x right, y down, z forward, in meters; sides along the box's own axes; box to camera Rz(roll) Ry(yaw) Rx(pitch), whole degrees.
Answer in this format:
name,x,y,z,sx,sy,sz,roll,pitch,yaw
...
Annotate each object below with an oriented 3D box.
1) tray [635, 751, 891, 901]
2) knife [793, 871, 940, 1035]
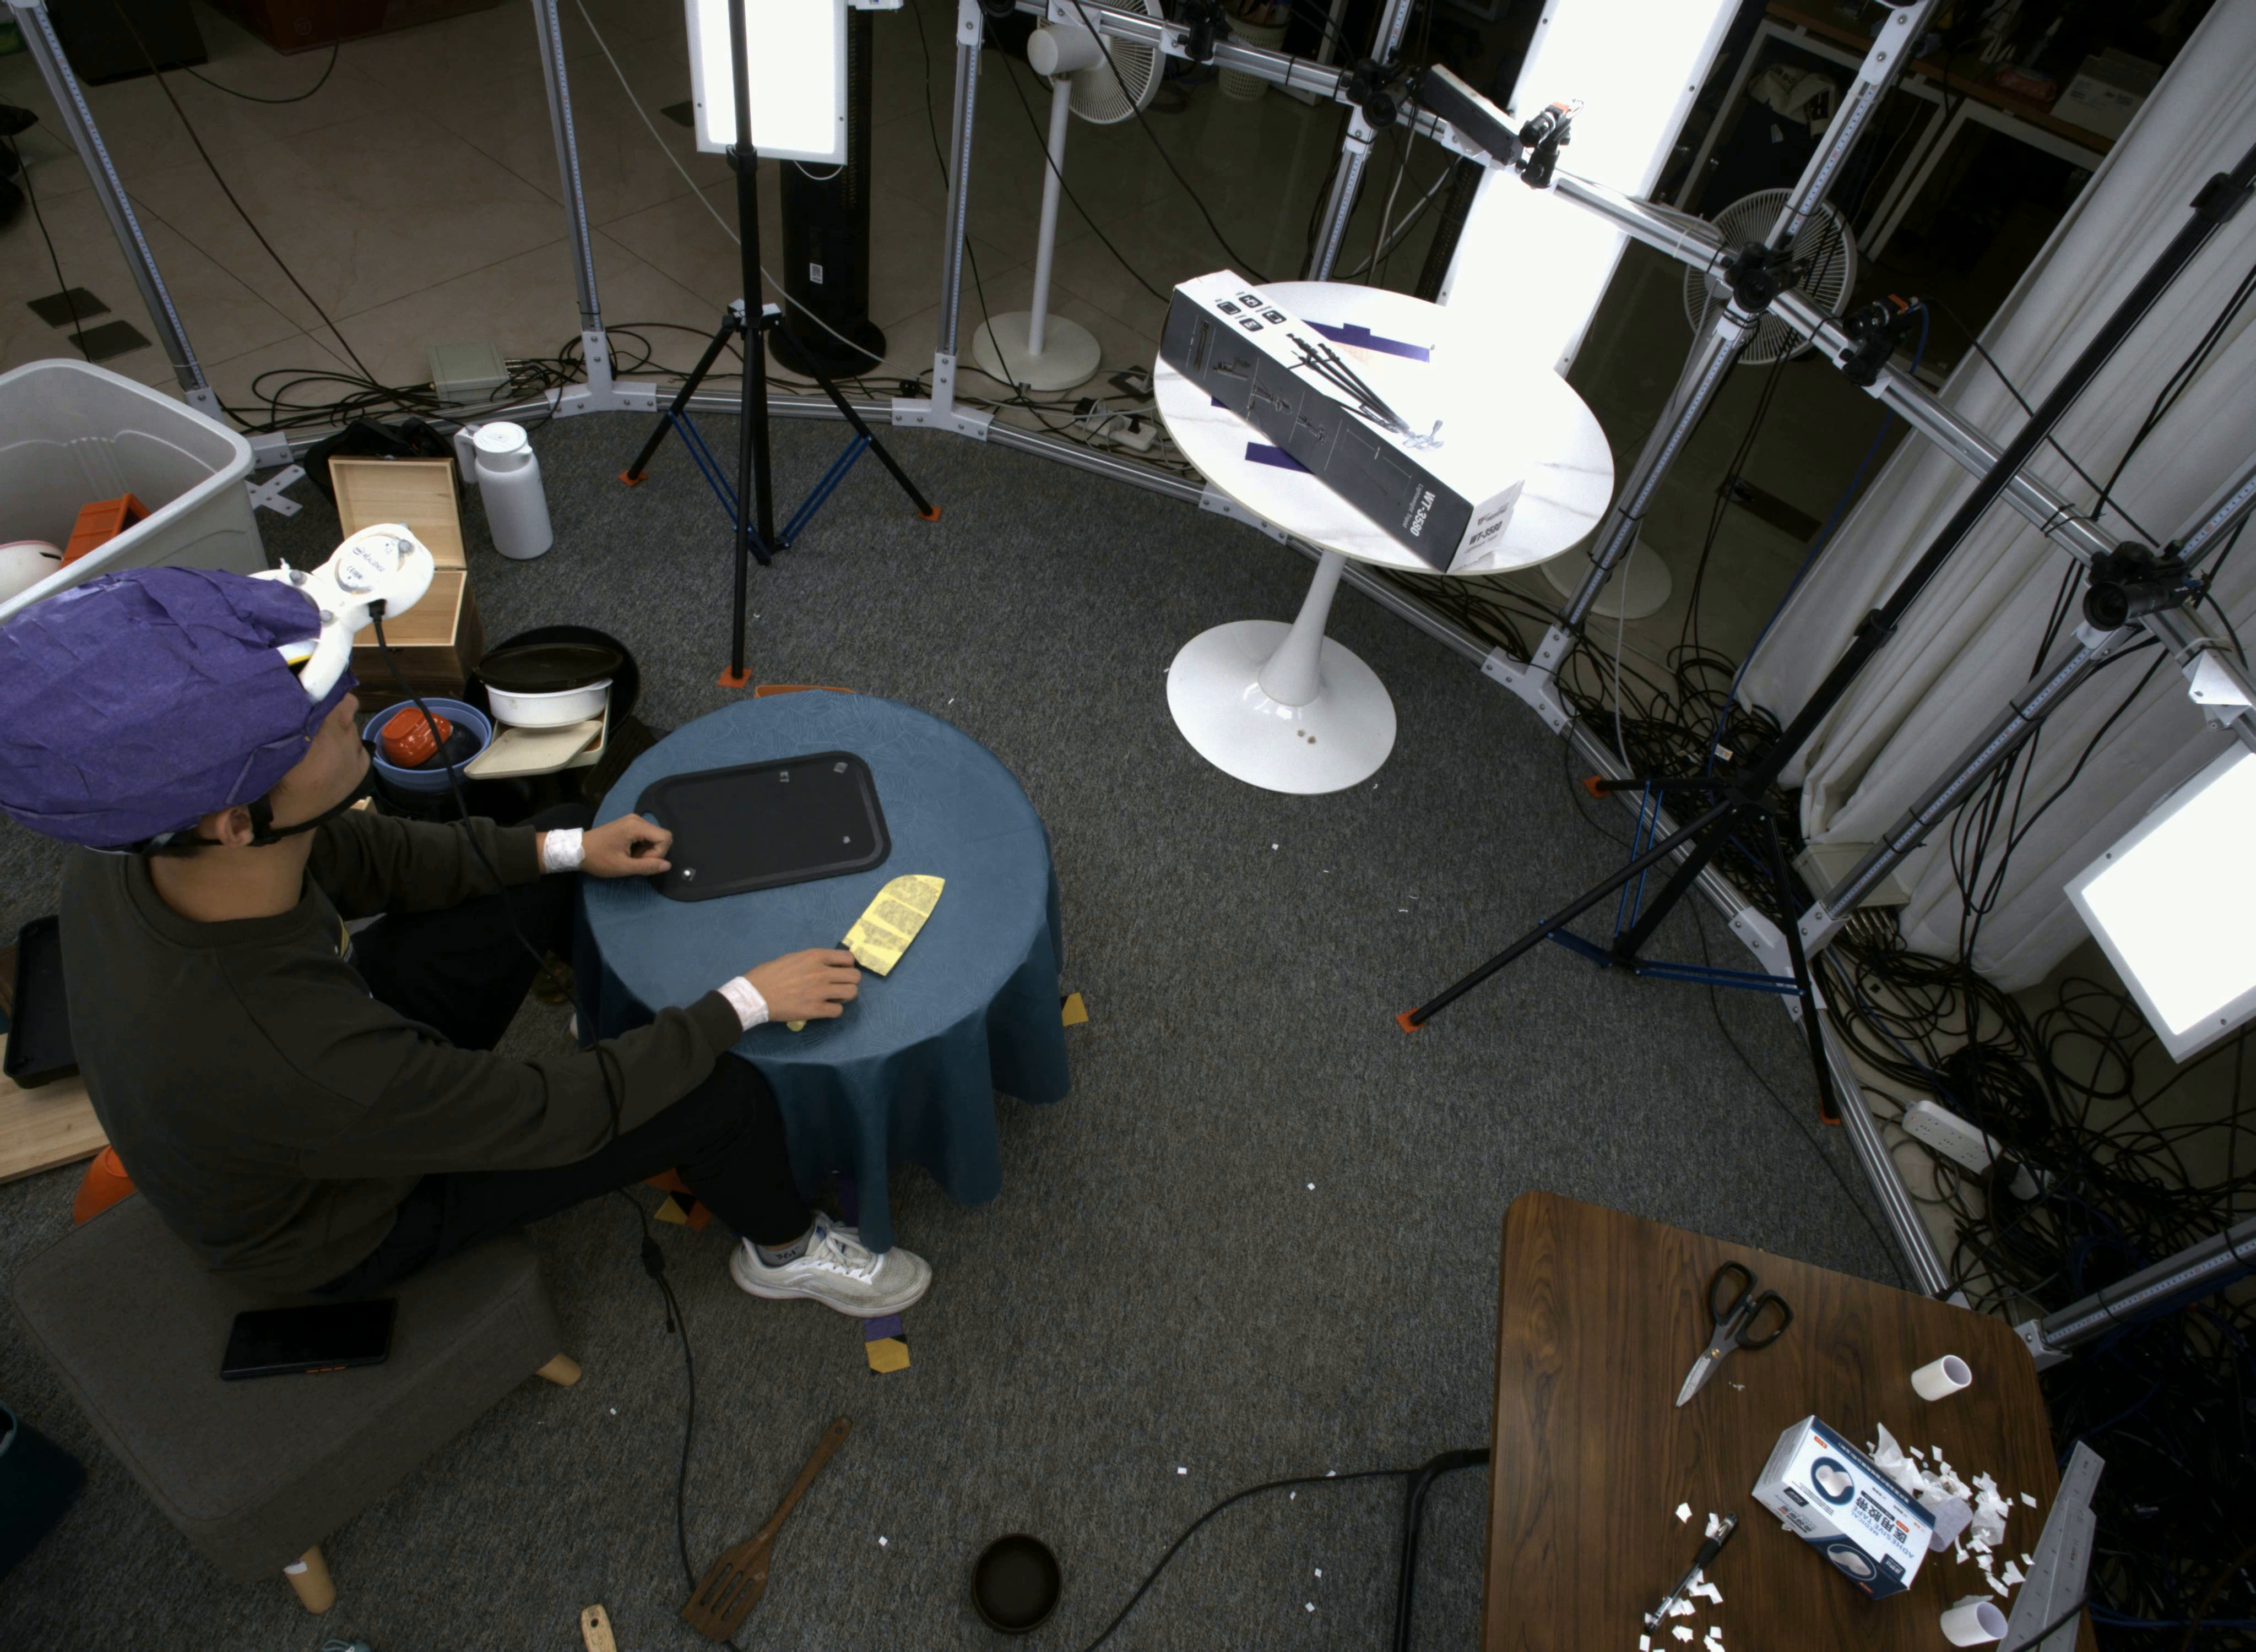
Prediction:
name,x,y,z,sx,sy,sz,roll,pitch,yaw
tray,-0.488,-0.005,1.718,0.327,0.010,0.206,-10,57,-21
knife,-0.324,0.154,1.638,0.080,0.028,0.288,28,52,8
